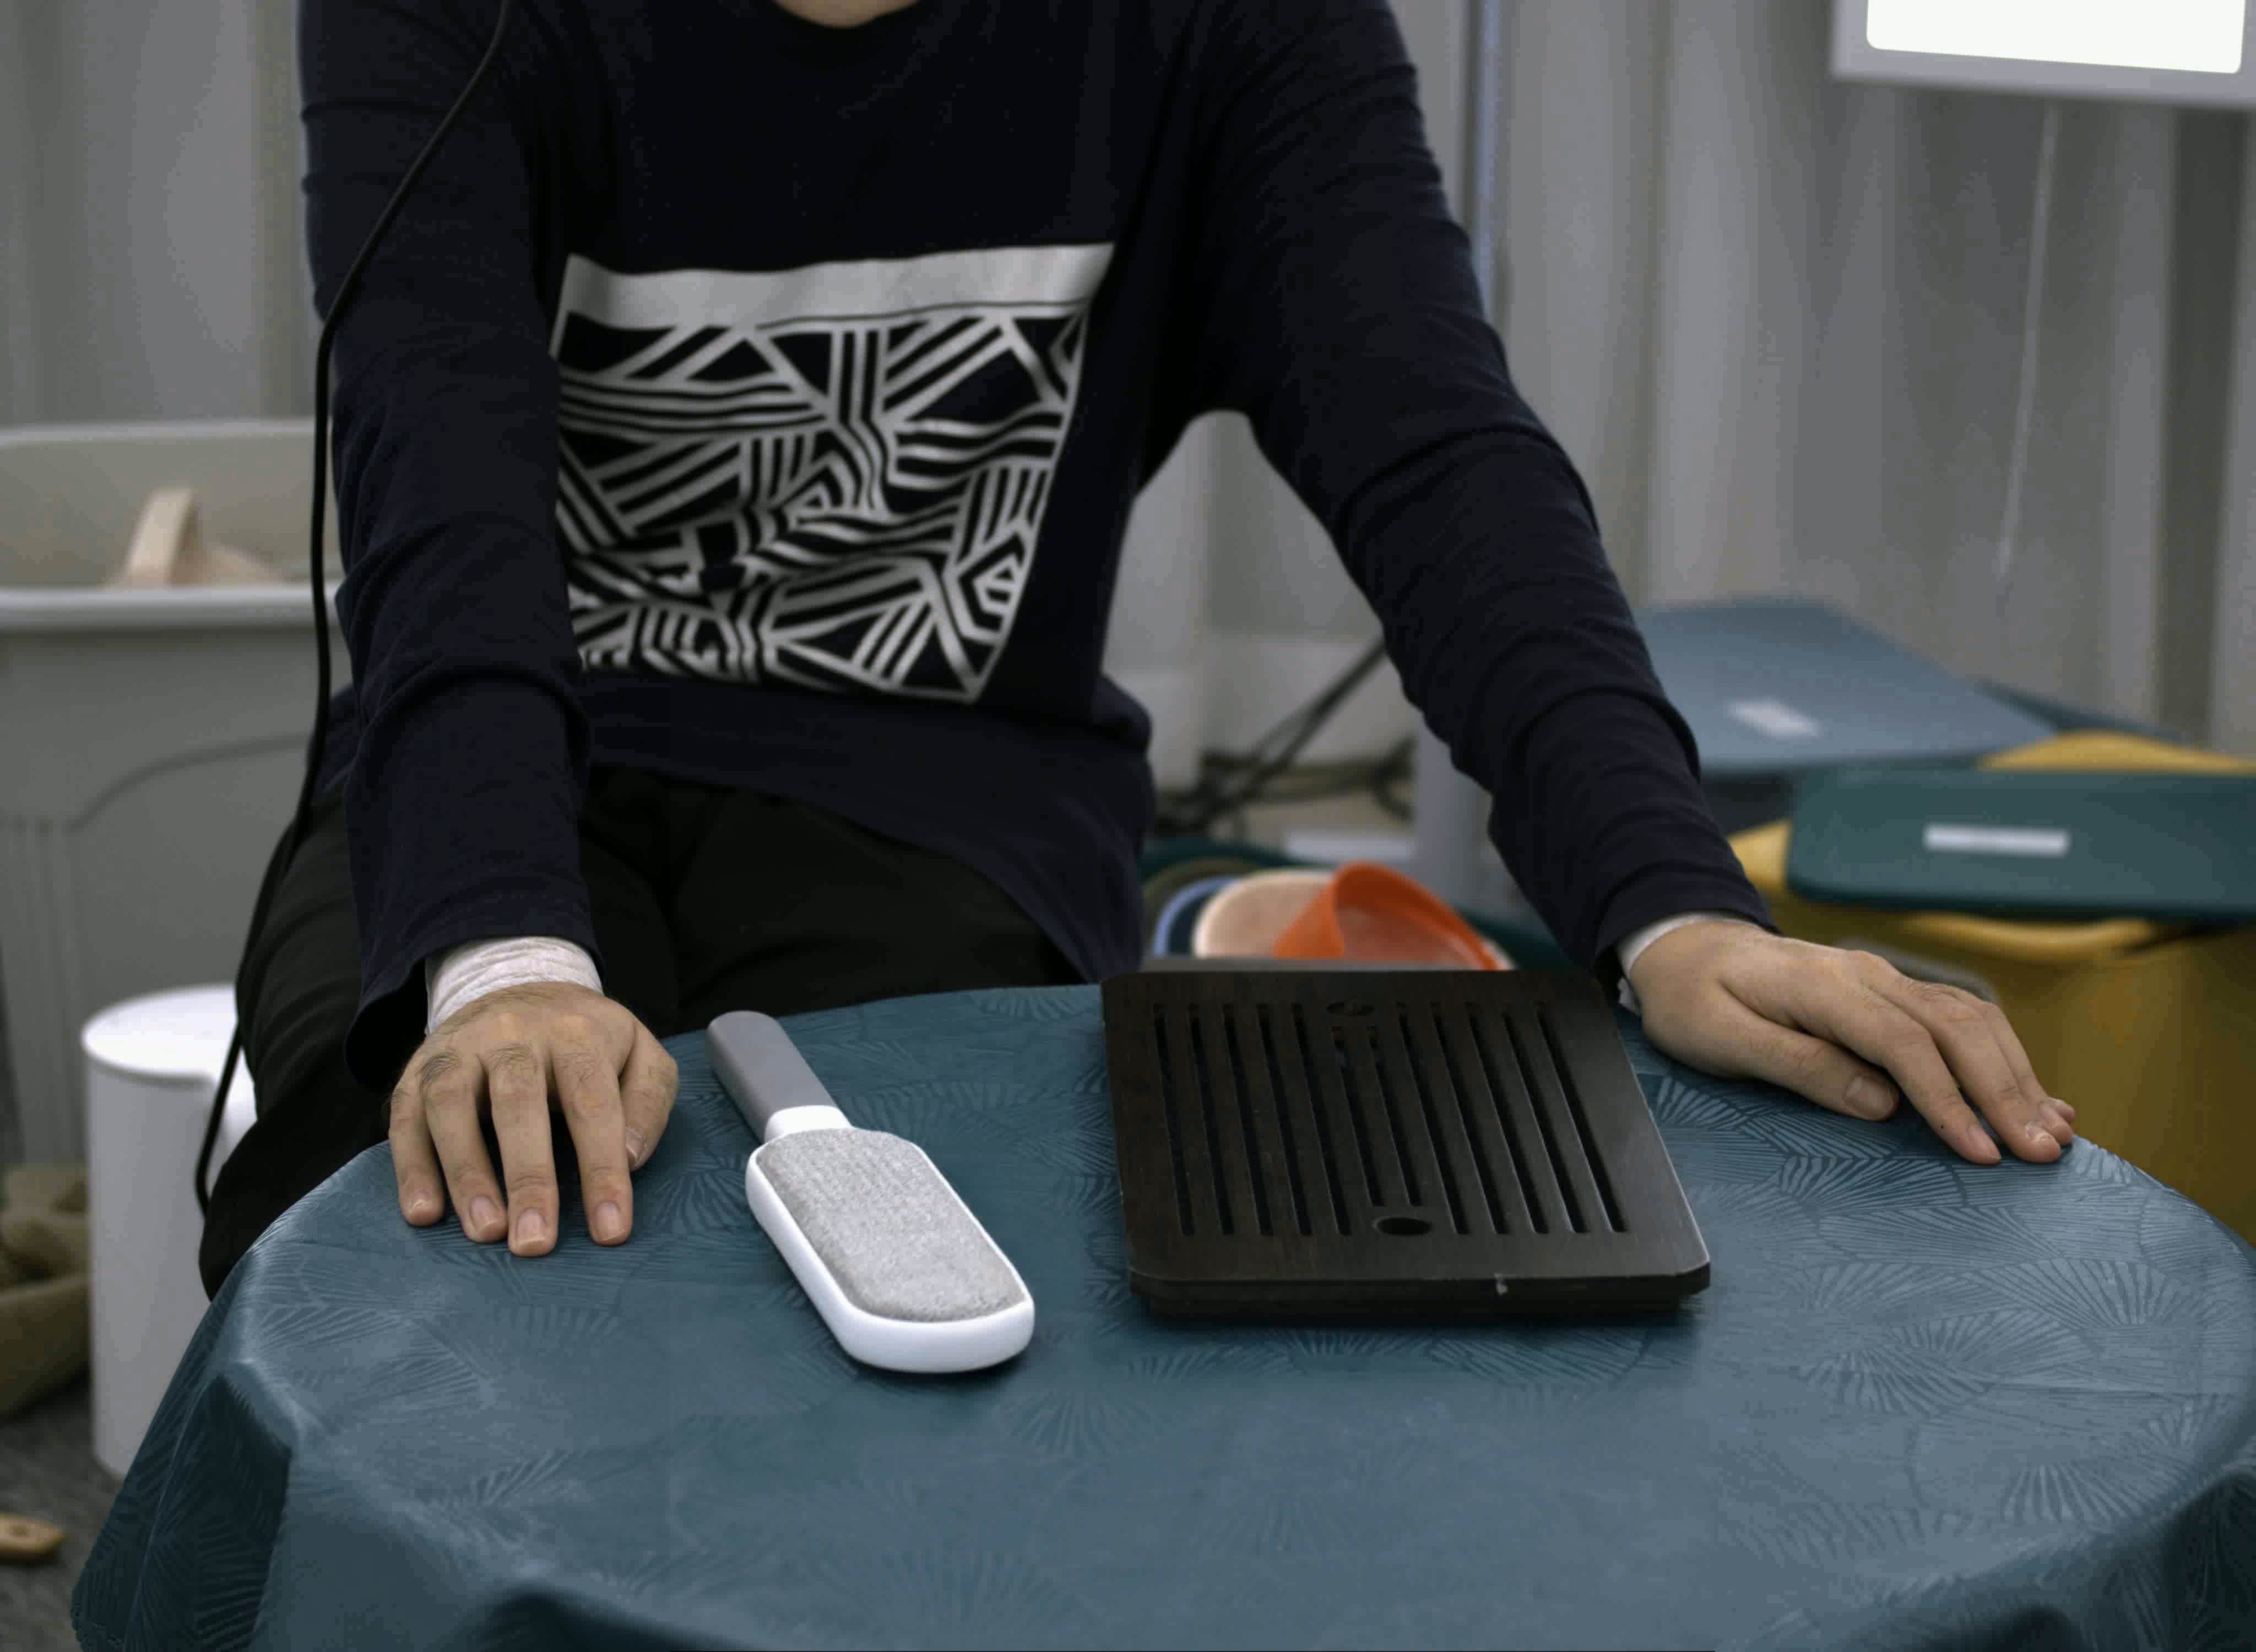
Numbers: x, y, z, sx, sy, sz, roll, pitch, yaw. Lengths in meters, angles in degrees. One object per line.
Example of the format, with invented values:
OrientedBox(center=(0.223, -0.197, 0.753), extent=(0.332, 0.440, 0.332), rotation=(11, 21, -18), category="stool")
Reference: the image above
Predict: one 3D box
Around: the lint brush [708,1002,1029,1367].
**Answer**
OrientedBox(center=(-0.087, 0.104, 1.601), extent=(0.060, 0.021, 0.306), rotation=(-9, 17, -13), category="lint brush")

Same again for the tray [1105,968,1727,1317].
OrientedBox(center=(0.082, 0.097, 1.654), extent=(0.170, 0.019, 0.304), rotation=(-1, 15, -3), category="tray")
